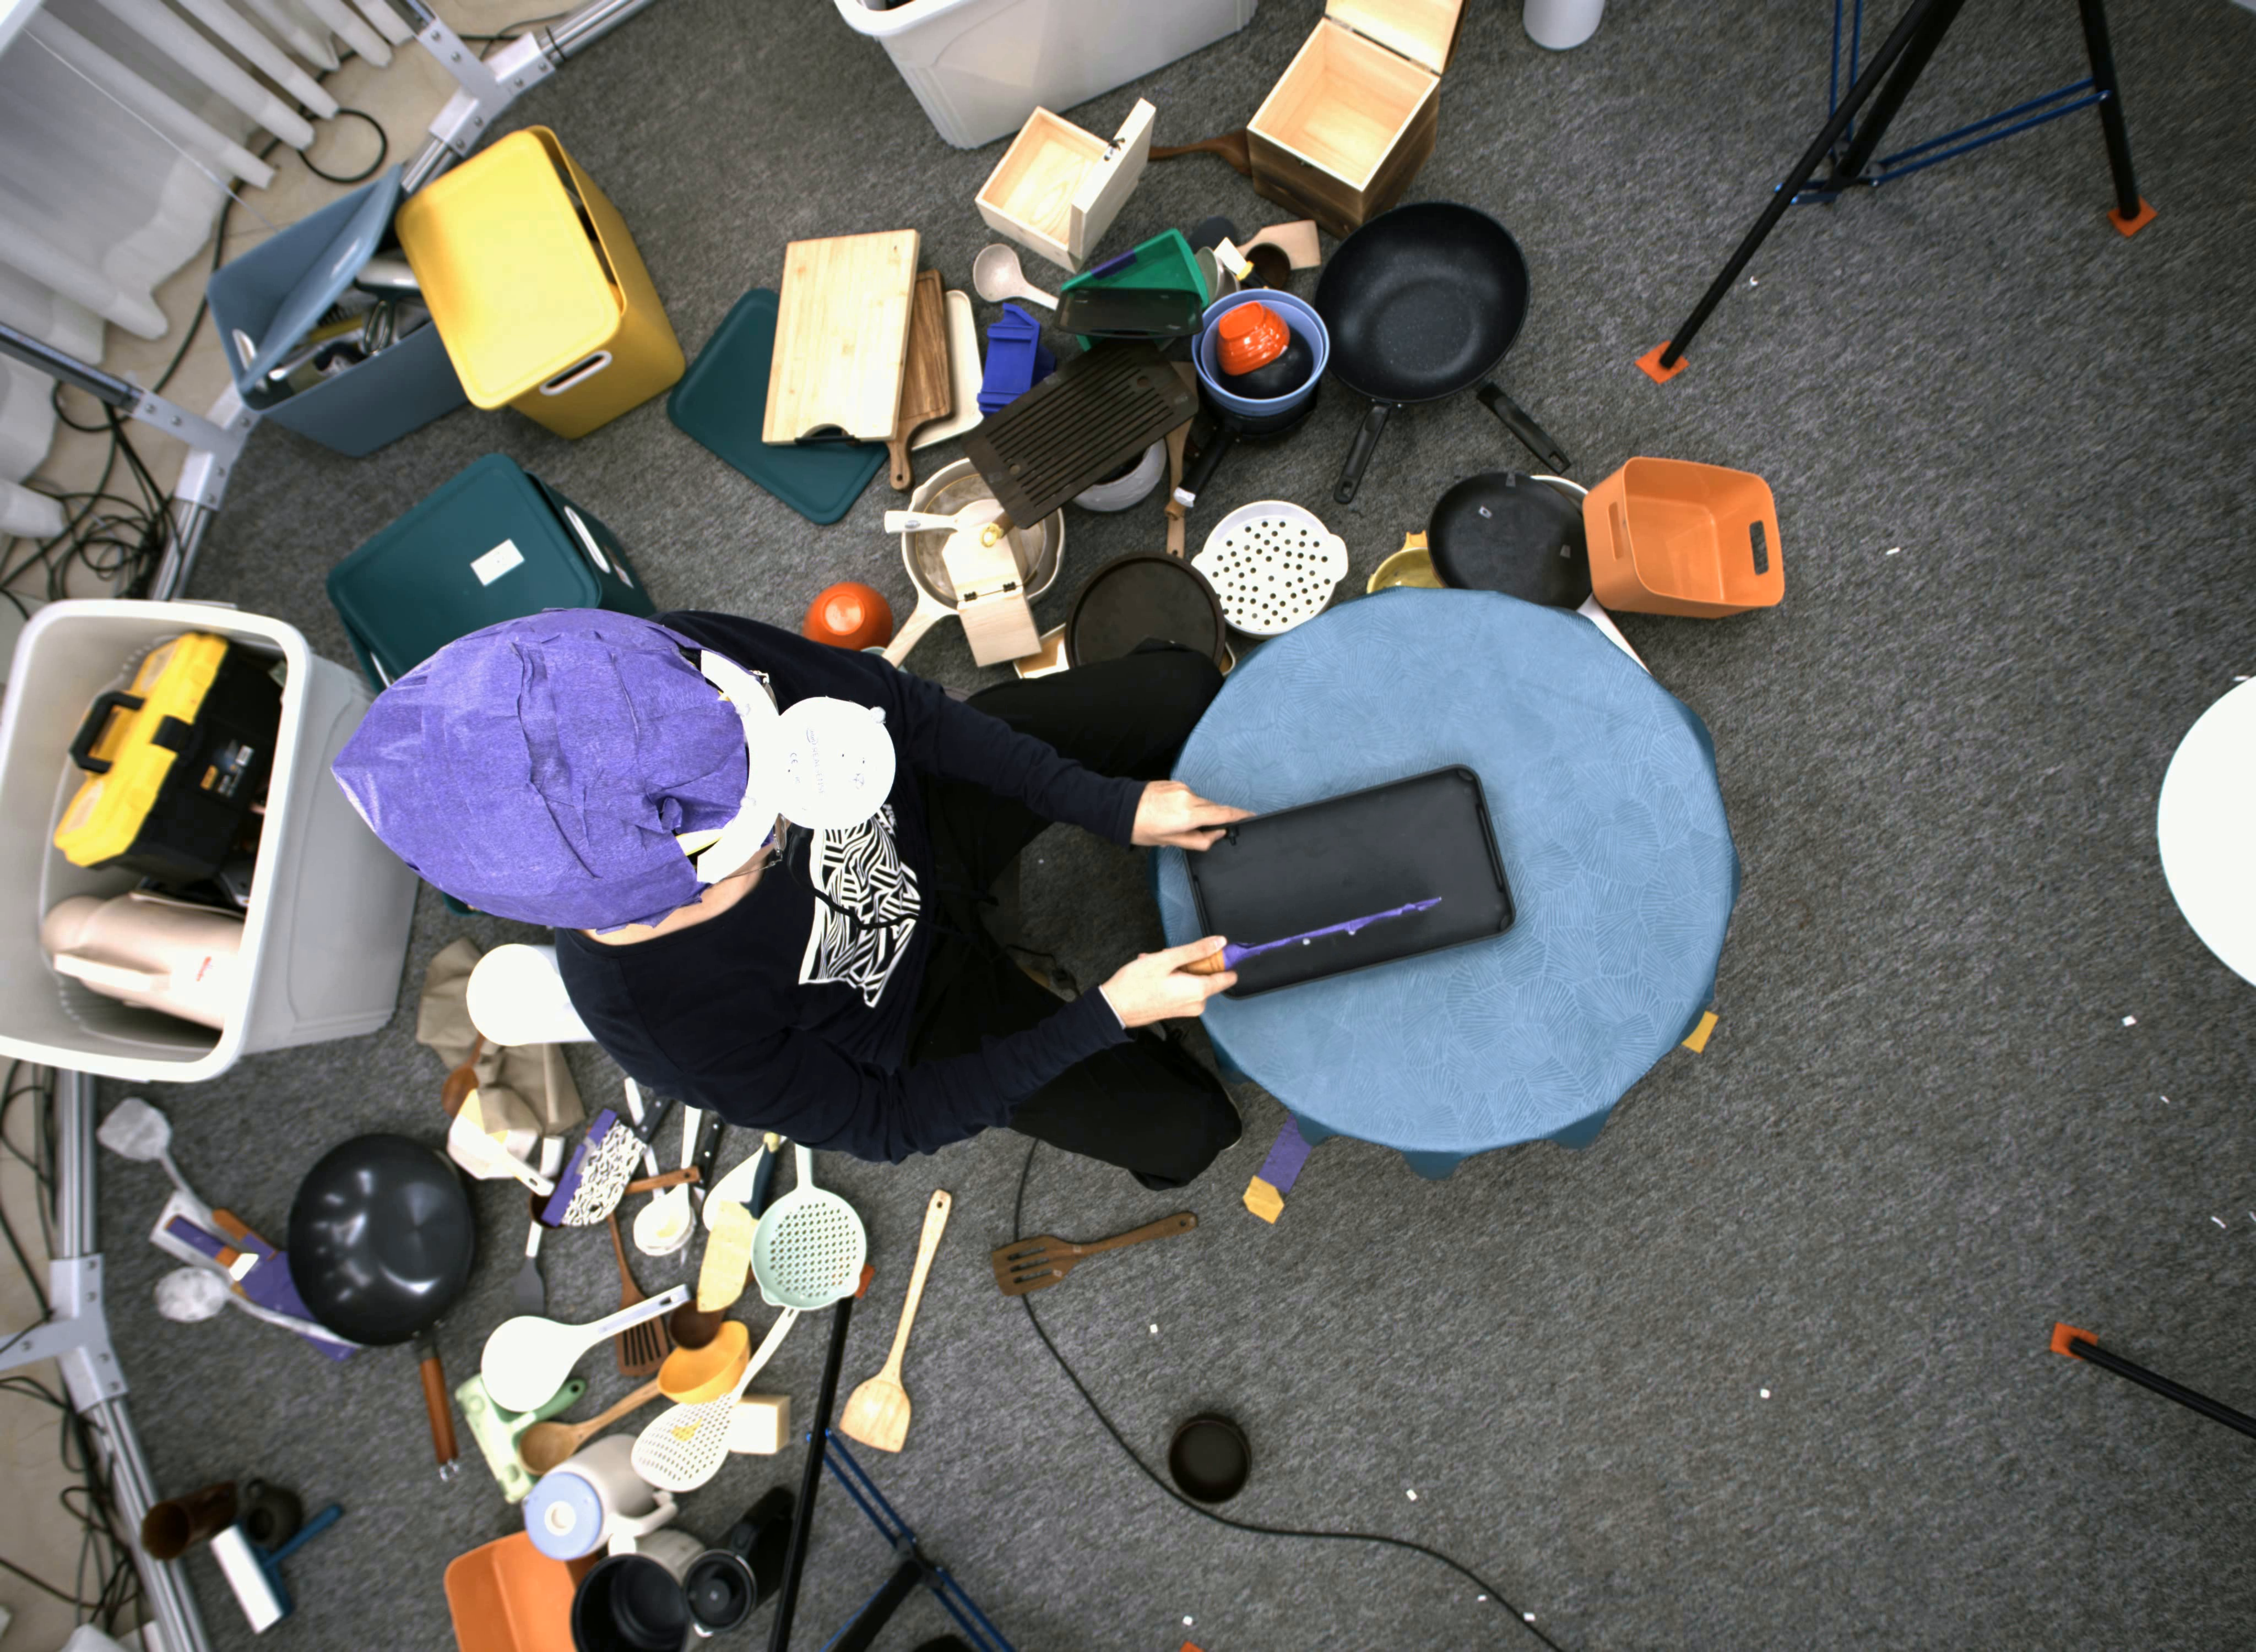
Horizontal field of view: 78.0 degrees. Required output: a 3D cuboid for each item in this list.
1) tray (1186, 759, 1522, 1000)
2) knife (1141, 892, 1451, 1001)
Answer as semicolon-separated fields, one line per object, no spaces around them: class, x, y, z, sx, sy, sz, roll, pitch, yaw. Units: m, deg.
tray;0.234;0.056;1.441;0.319;0.037;0.184;-16;88;8
knife;0.174;0.136;1.405;0.317;0.106;0.031;-16;53;9
